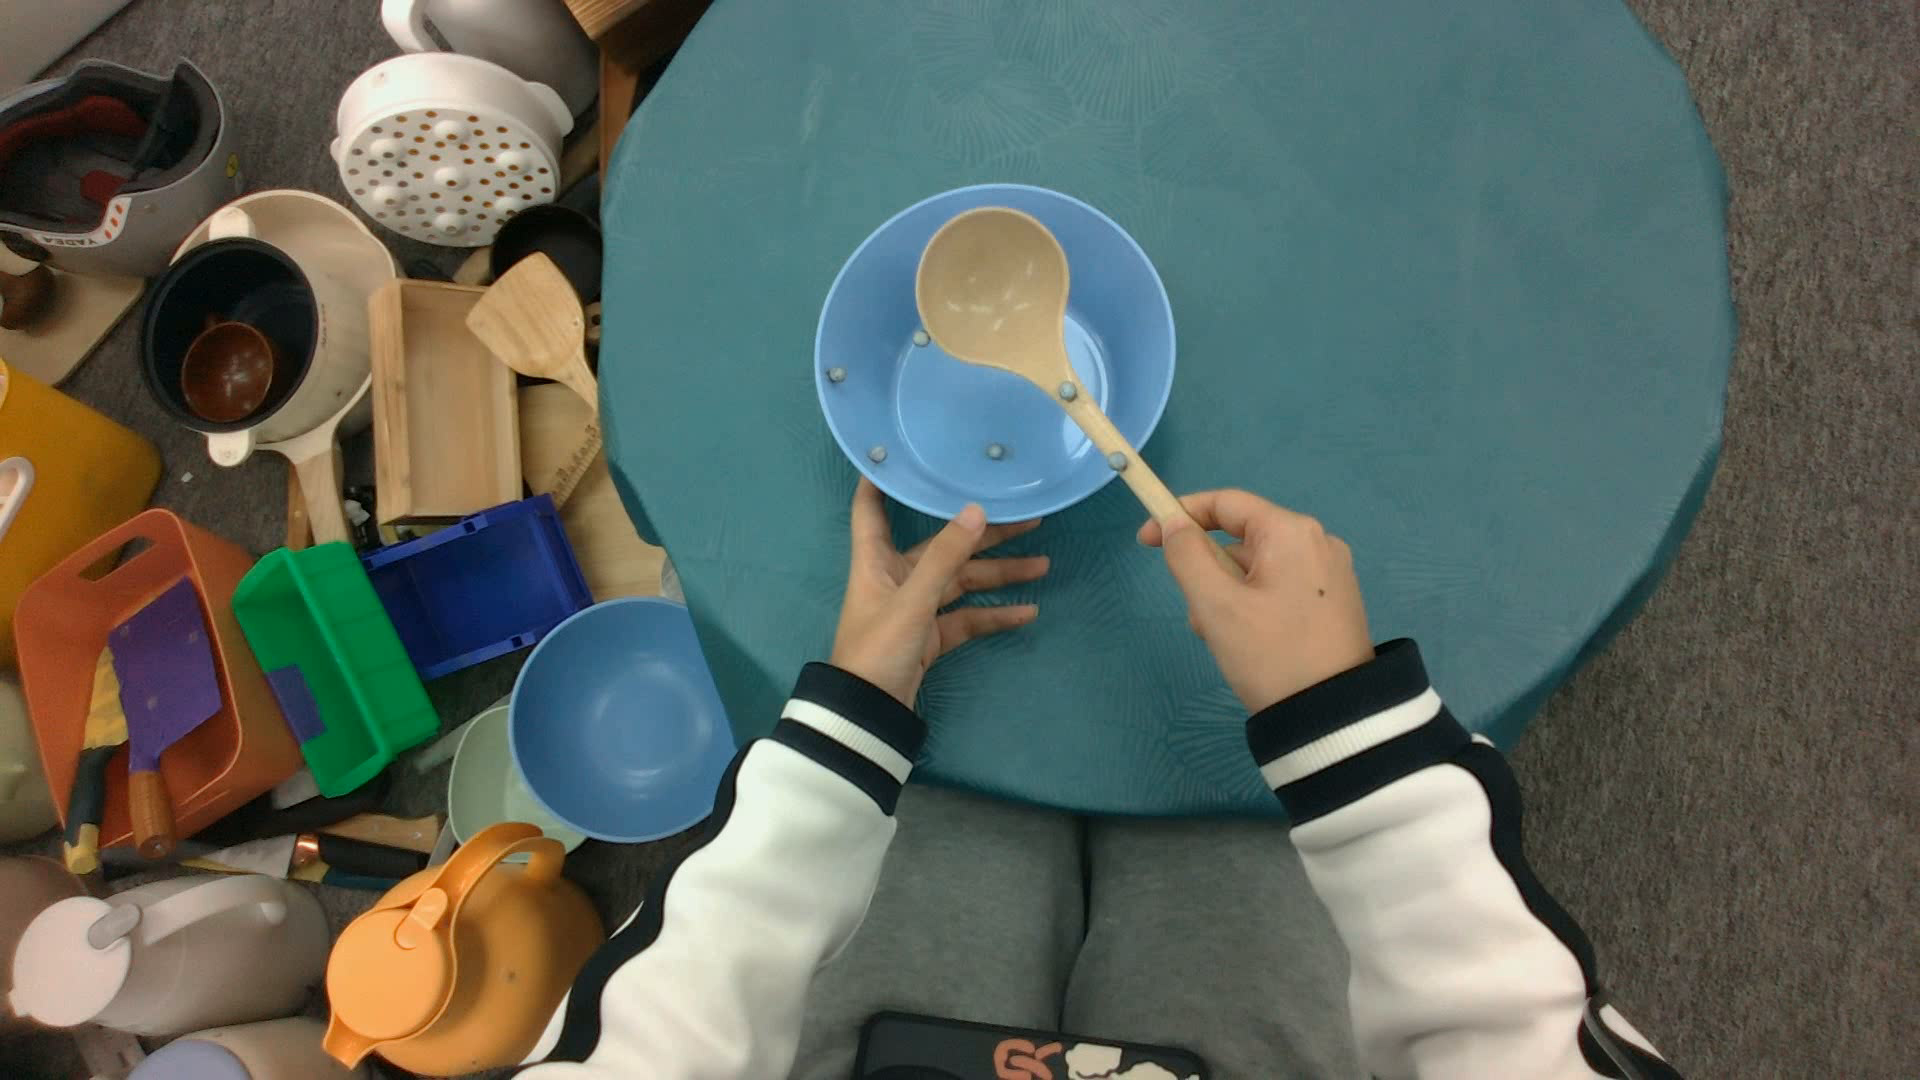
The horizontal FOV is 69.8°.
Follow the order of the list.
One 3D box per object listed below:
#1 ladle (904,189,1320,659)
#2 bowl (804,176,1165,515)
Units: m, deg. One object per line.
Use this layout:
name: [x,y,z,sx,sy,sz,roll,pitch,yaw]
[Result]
ladle: [0.061,-0.055,0.576,0.072,0.072,0.255,-37,58,-1]
bowl: [0.014,-0.089,0.695,0.176,0.070,0.176,-2,75,6]
